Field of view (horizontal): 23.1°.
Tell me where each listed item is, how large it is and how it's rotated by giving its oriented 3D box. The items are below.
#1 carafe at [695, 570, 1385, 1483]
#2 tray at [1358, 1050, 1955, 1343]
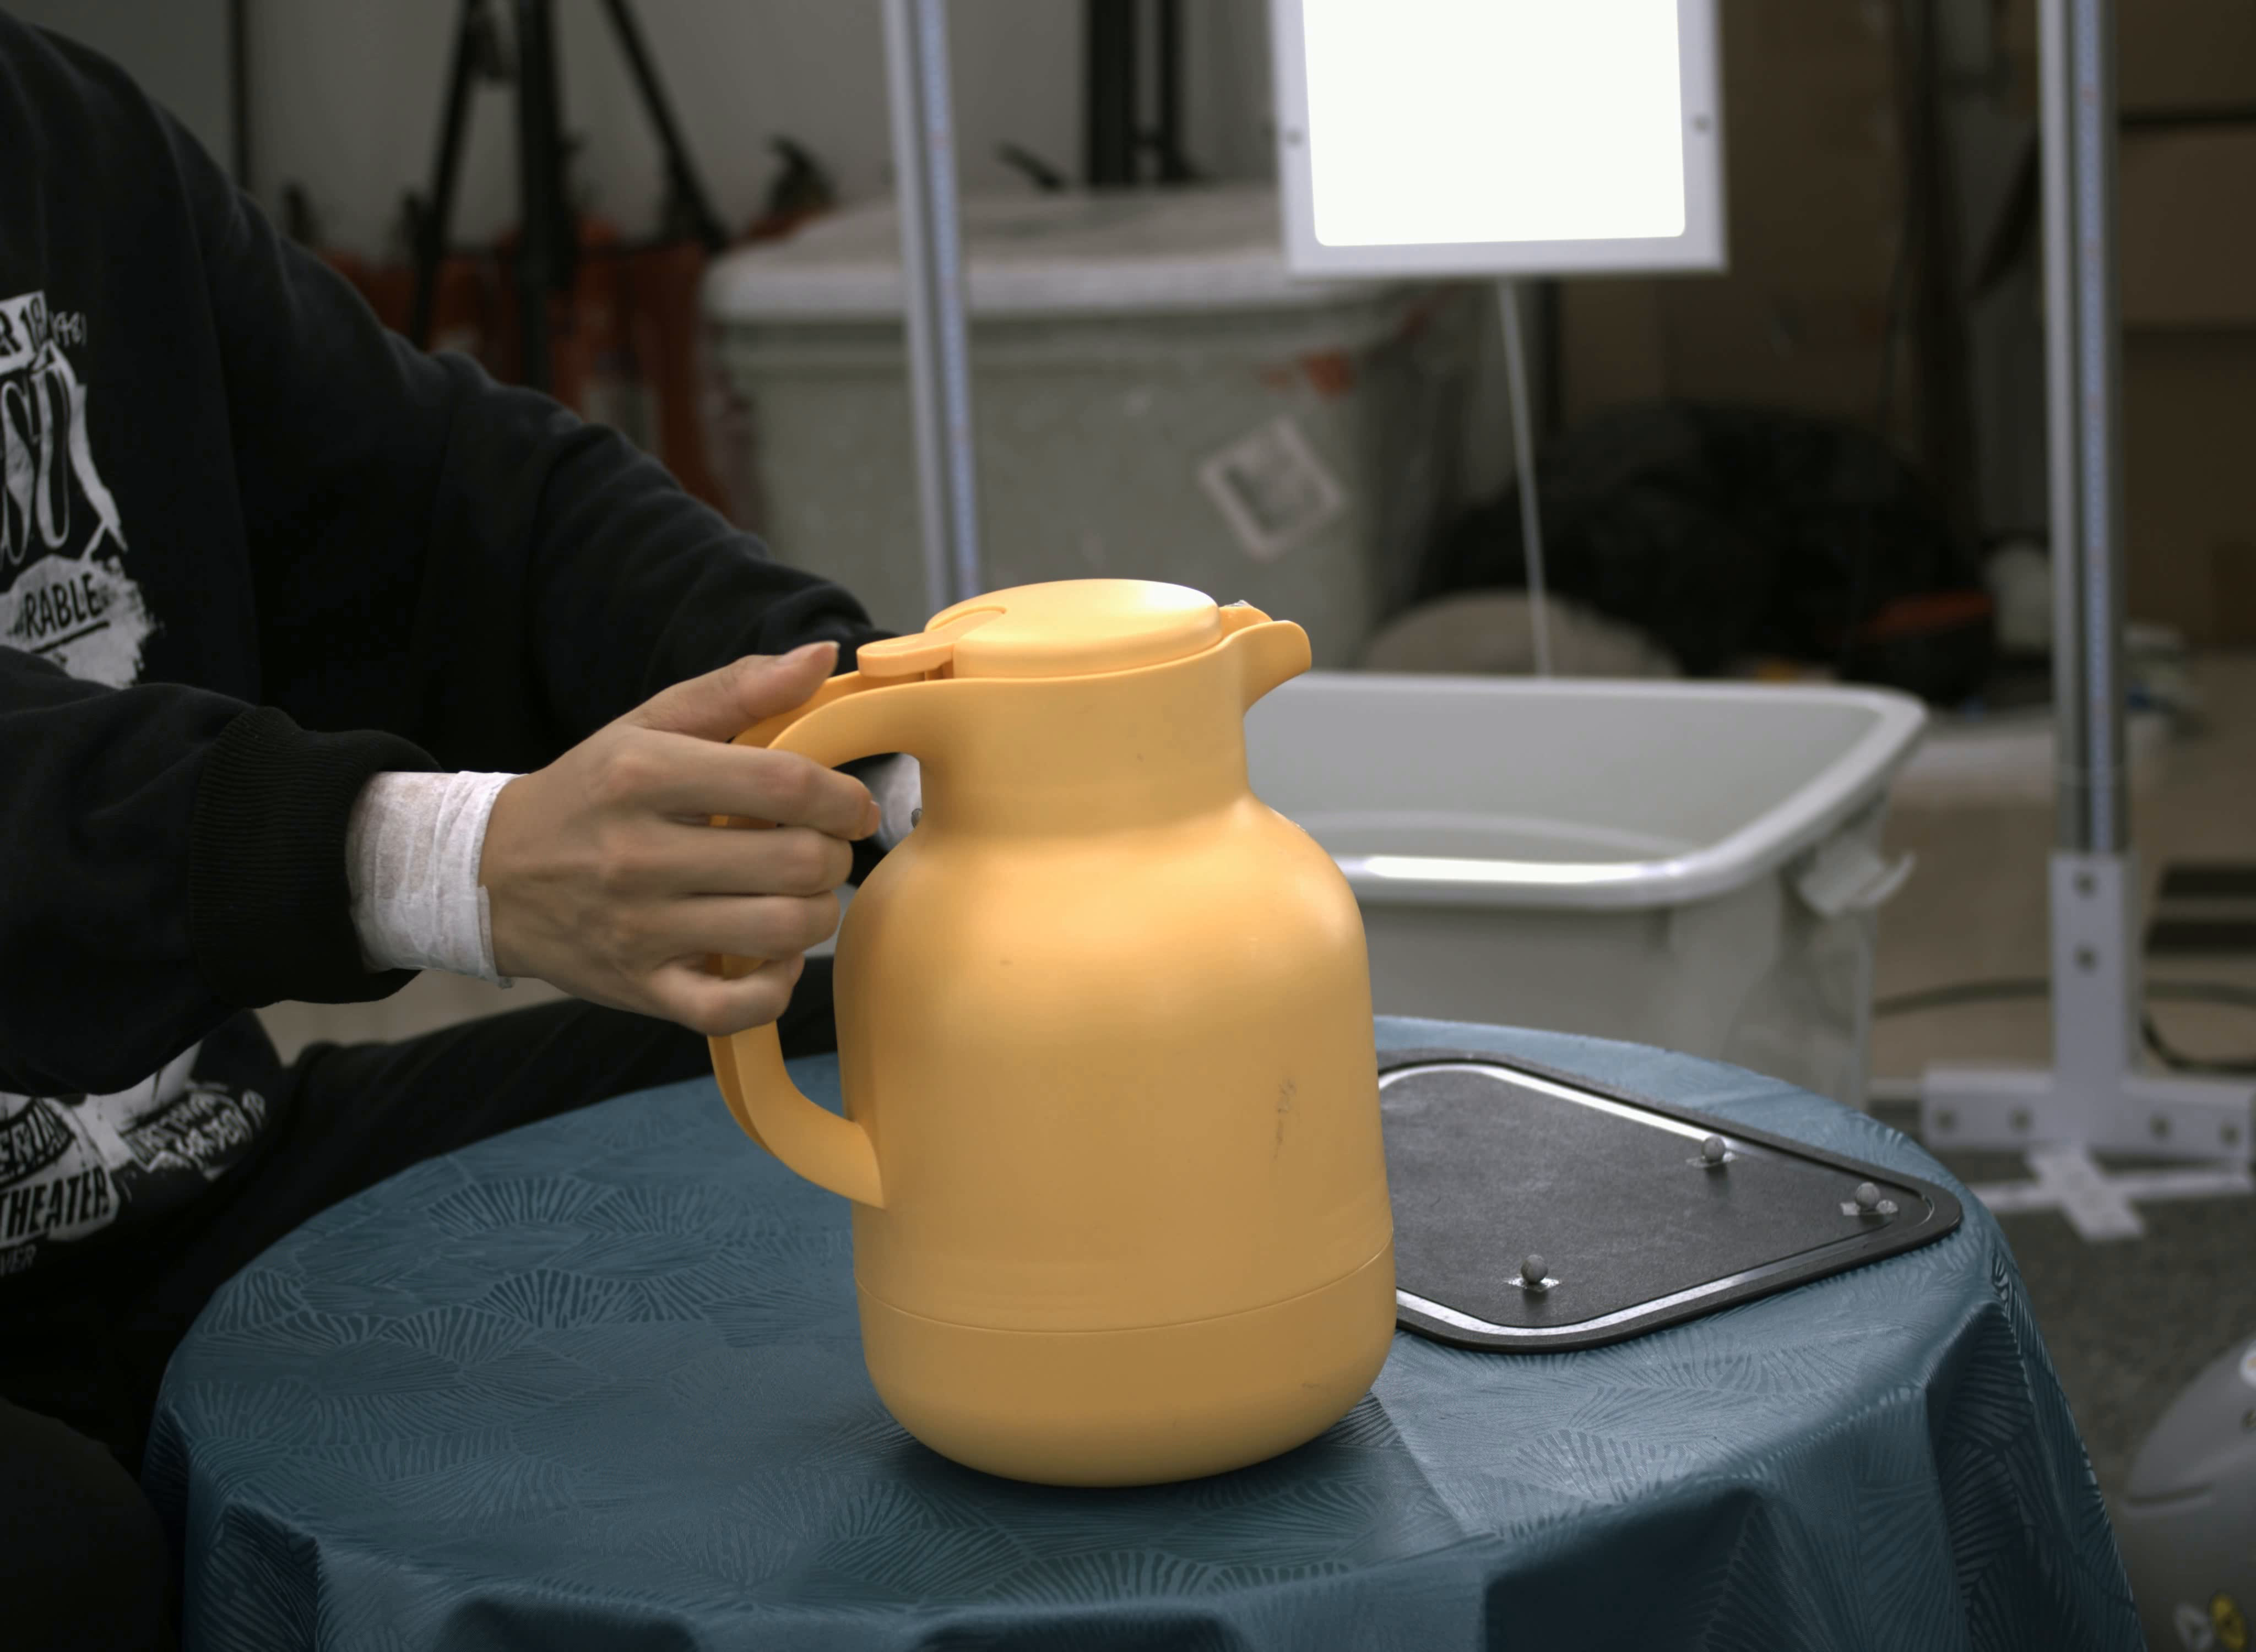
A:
[{"bbox_3d":[-0.027,0.058,1.636,0.199,0.261,0.165,-7,11,-18],"label":"carafe"},{"bbox_3d":[0.114,0.120,1.870,0.206,0.010,0.332,-13,16,-31],"label":"tray"}]
